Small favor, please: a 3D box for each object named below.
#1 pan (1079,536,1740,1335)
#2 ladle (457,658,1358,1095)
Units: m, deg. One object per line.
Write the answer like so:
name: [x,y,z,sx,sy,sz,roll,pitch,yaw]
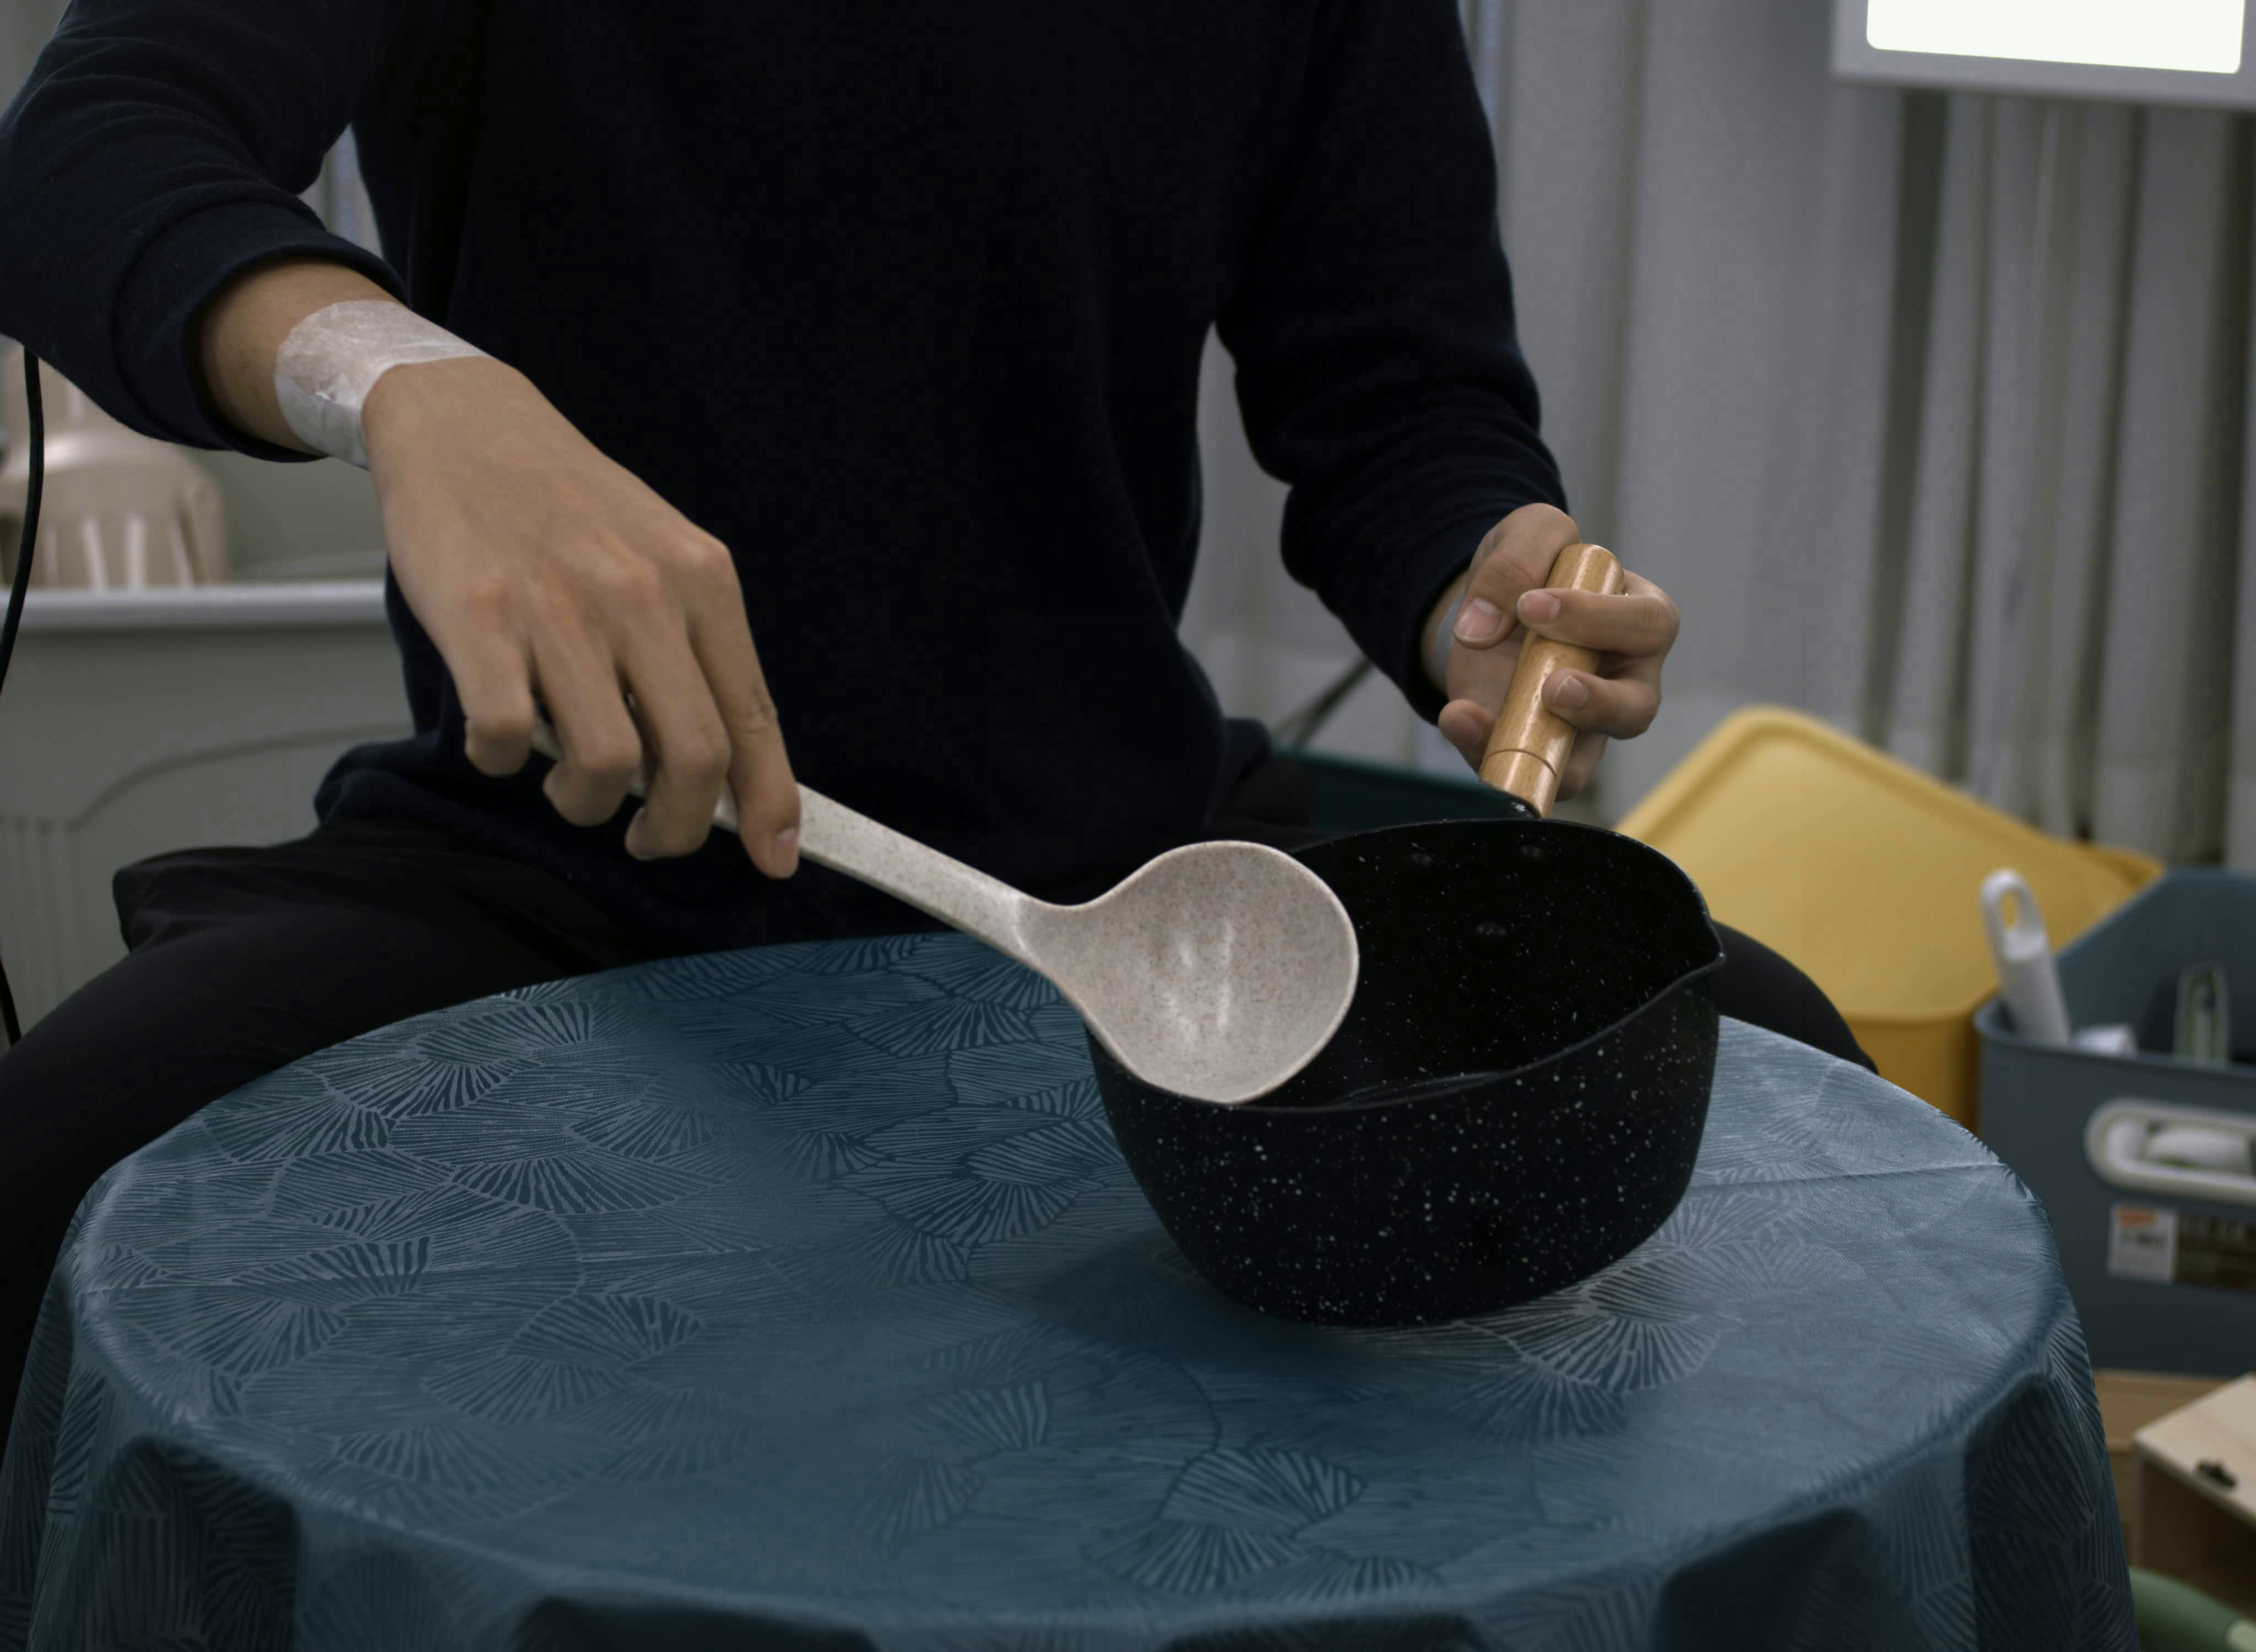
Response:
pan: [0.106,0.029,1.609,0.205,0.109,0.341,-3,27,20]
ladle: [-0.055,0.002,1.454,0.278,0.089,0.069,27,-34,-35]
